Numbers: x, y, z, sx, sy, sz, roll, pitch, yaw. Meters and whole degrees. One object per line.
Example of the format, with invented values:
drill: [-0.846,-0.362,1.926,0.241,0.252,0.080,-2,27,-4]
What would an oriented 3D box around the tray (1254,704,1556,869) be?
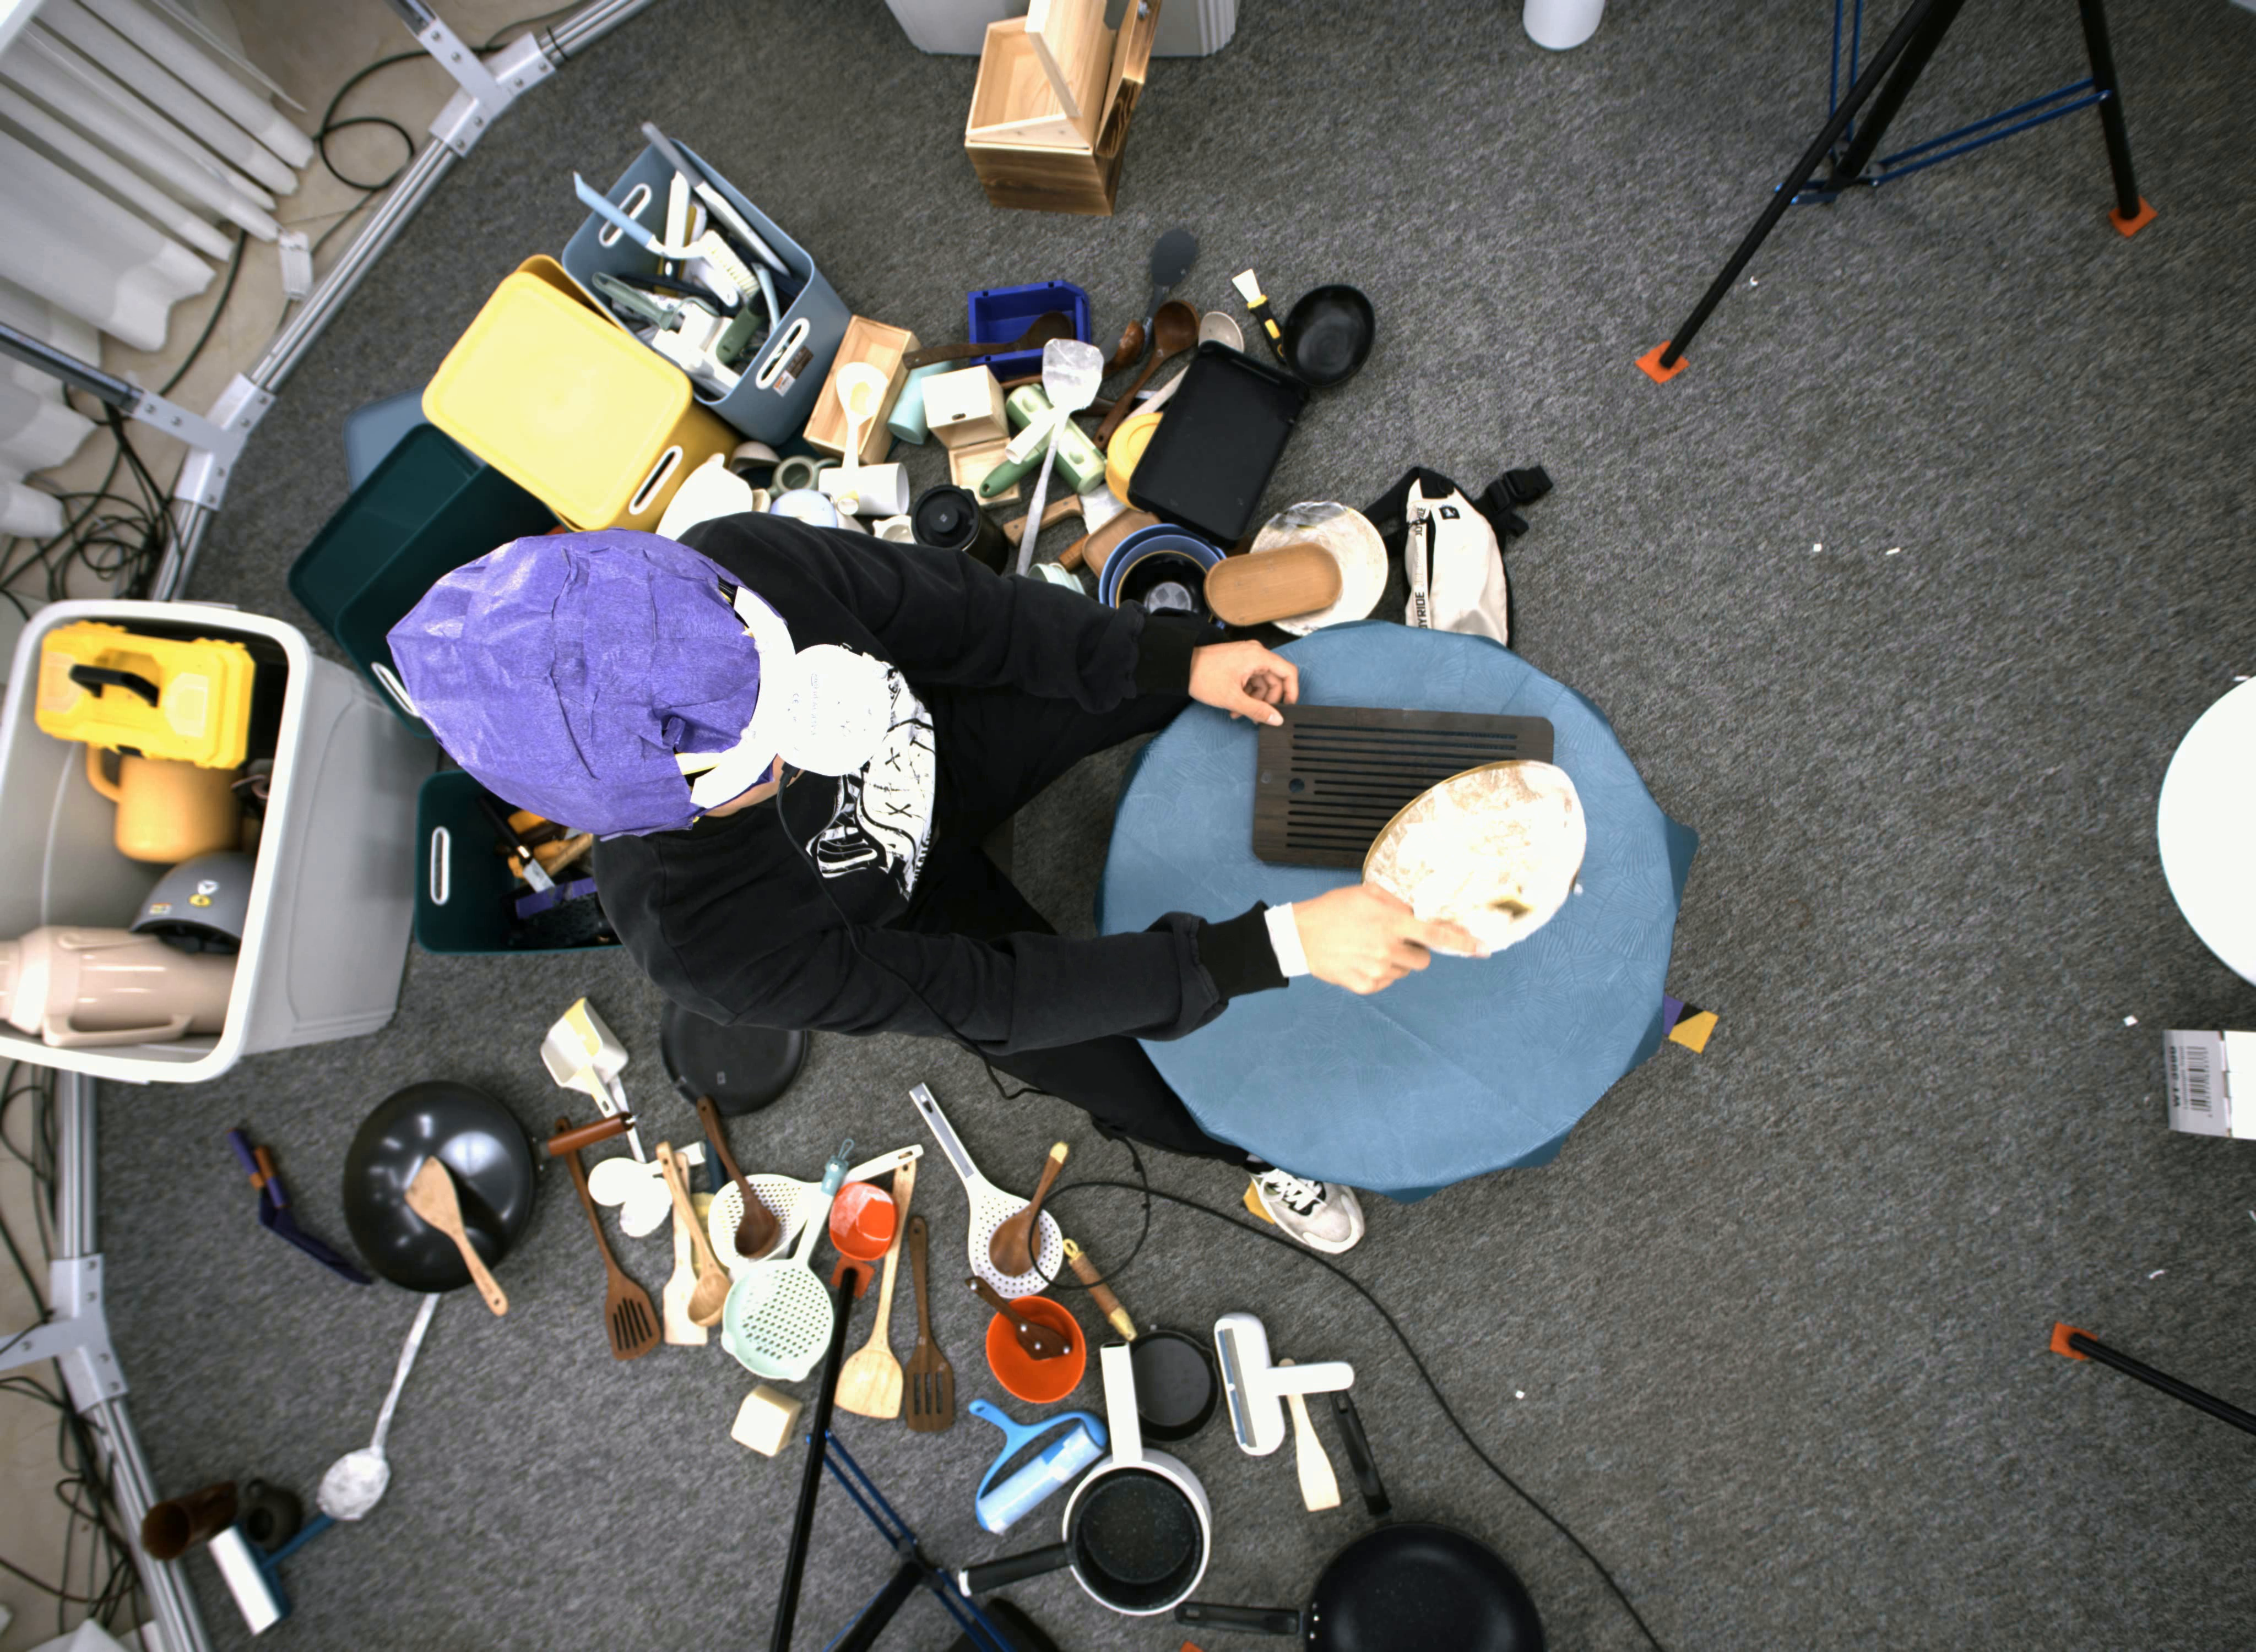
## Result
tray: [0.289,-0.038,1.450,0.307,0.018,0.170,3,94,11]

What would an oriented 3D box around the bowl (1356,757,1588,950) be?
bowl: [0.316,0.038,1.216,0.215,0.211,0.095,-37,114,4]
